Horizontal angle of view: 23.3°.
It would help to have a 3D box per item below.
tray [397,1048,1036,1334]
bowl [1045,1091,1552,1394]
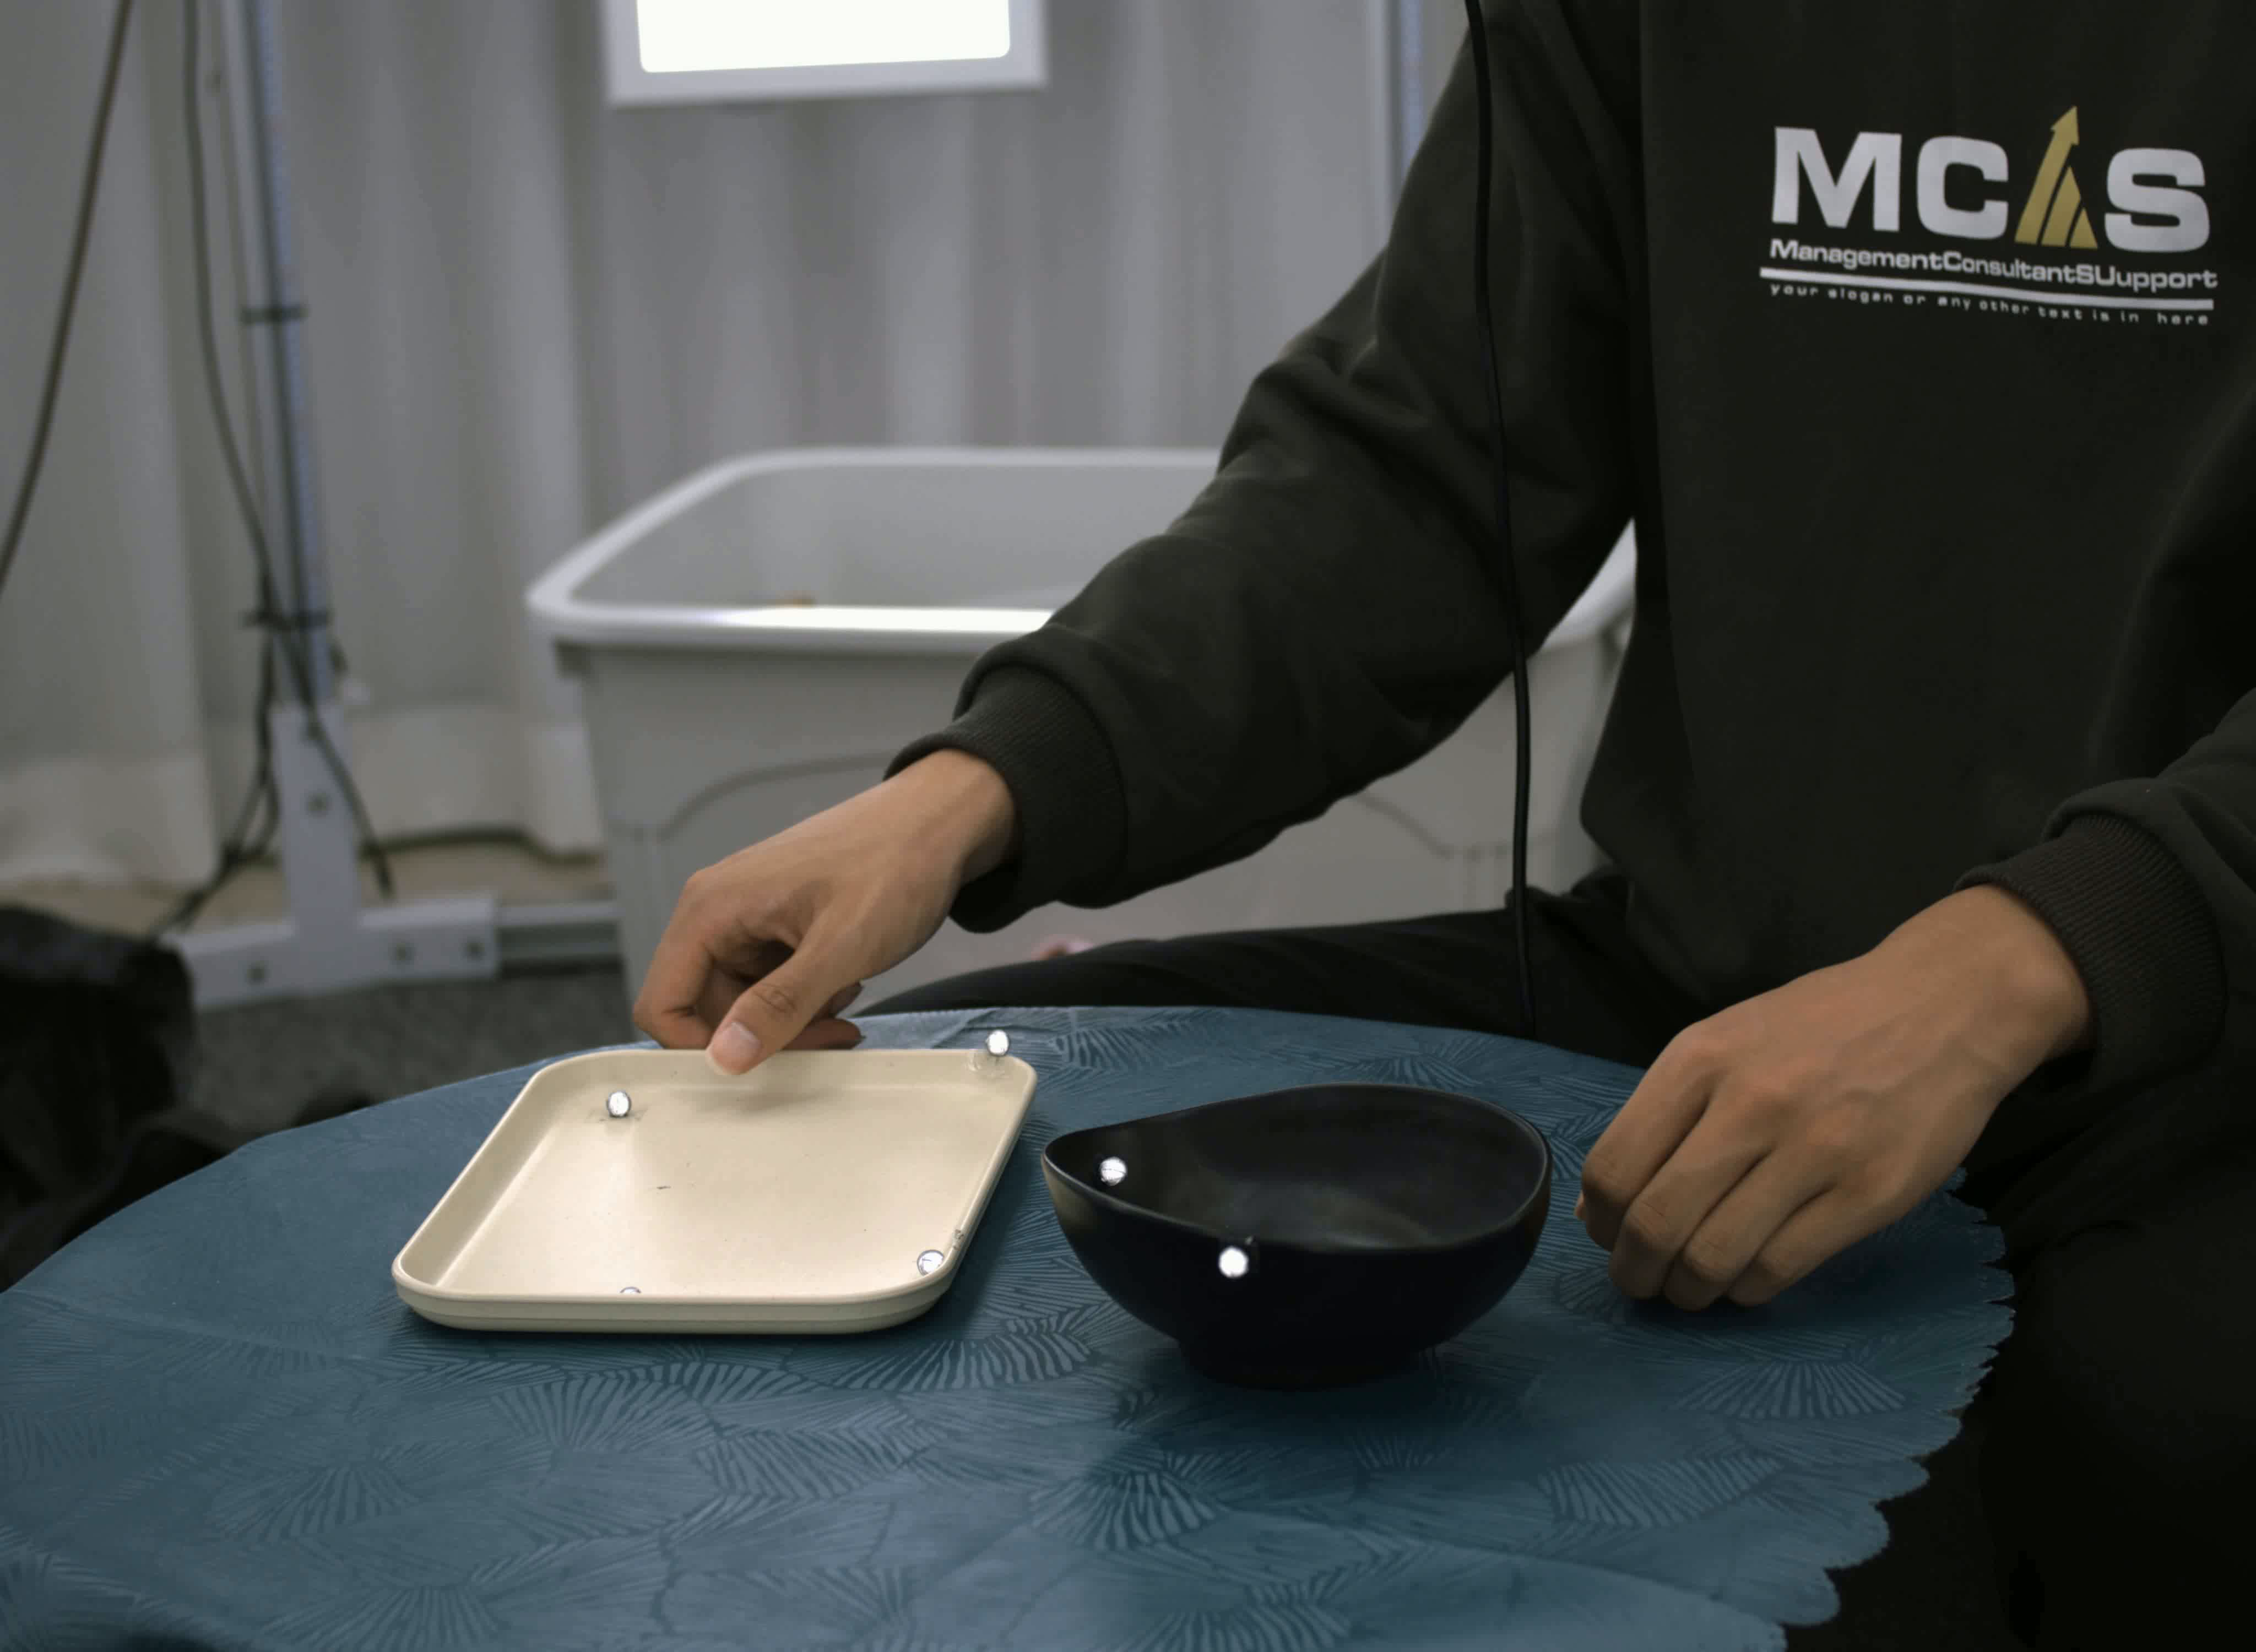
[{"bbox_3d":[-0.123,0.113,1.710,0.171,0.017,0.241,-1,15,8],"label":"tray"},{"bbox_3d":[0.047,0.122,1.565,0.137,0.066,0.171,-10,14,-30],"label":"bowl"}]
